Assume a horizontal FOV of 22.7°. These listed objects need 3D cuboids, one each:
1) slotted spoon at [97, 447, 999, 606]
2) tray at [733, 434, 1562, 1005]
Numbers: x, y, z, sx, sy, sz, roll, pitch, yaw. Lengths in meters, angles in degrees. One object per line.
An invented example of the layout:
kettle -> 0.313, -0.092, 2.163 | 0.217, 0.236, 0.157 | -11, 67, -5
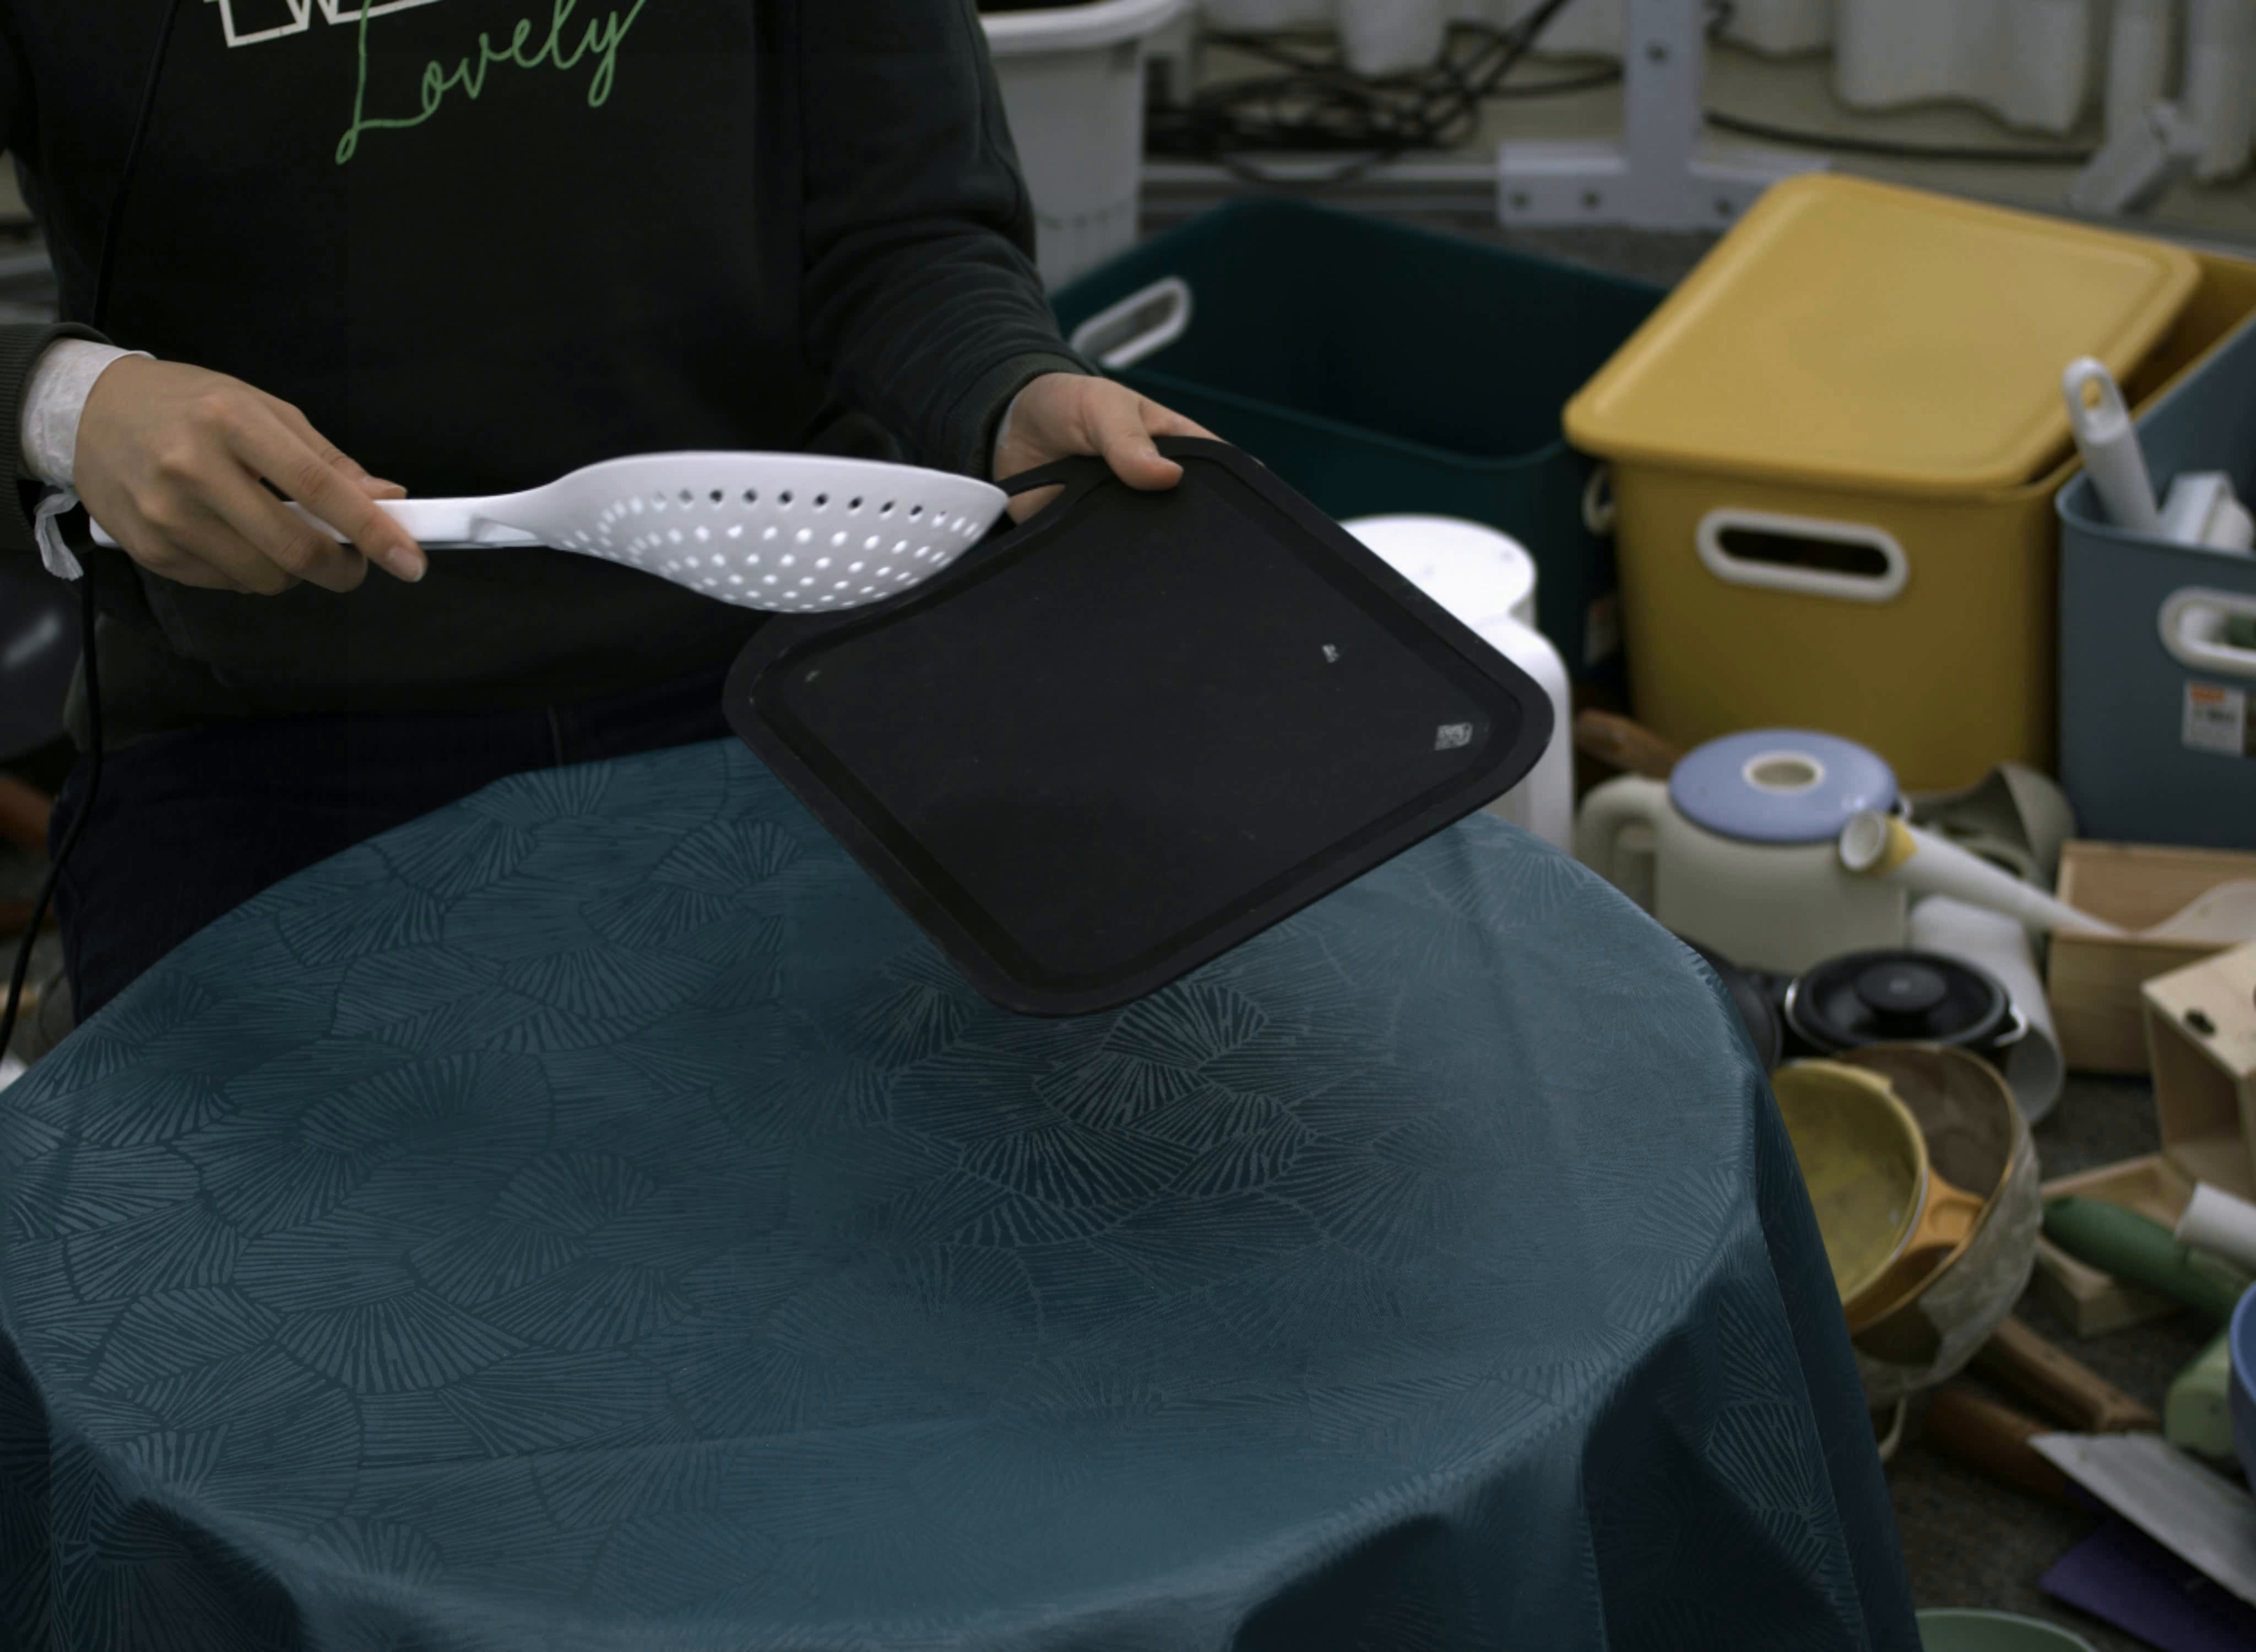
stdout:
slotted spoon -> -0.200, -0.102, 1.846 | 0.347, 0.046, 0.136 | 5, -2, 32
tray -> -0.004, -0.046, 1.891 | 0.212, 0.009, 0.327 | -28, 33, -13
